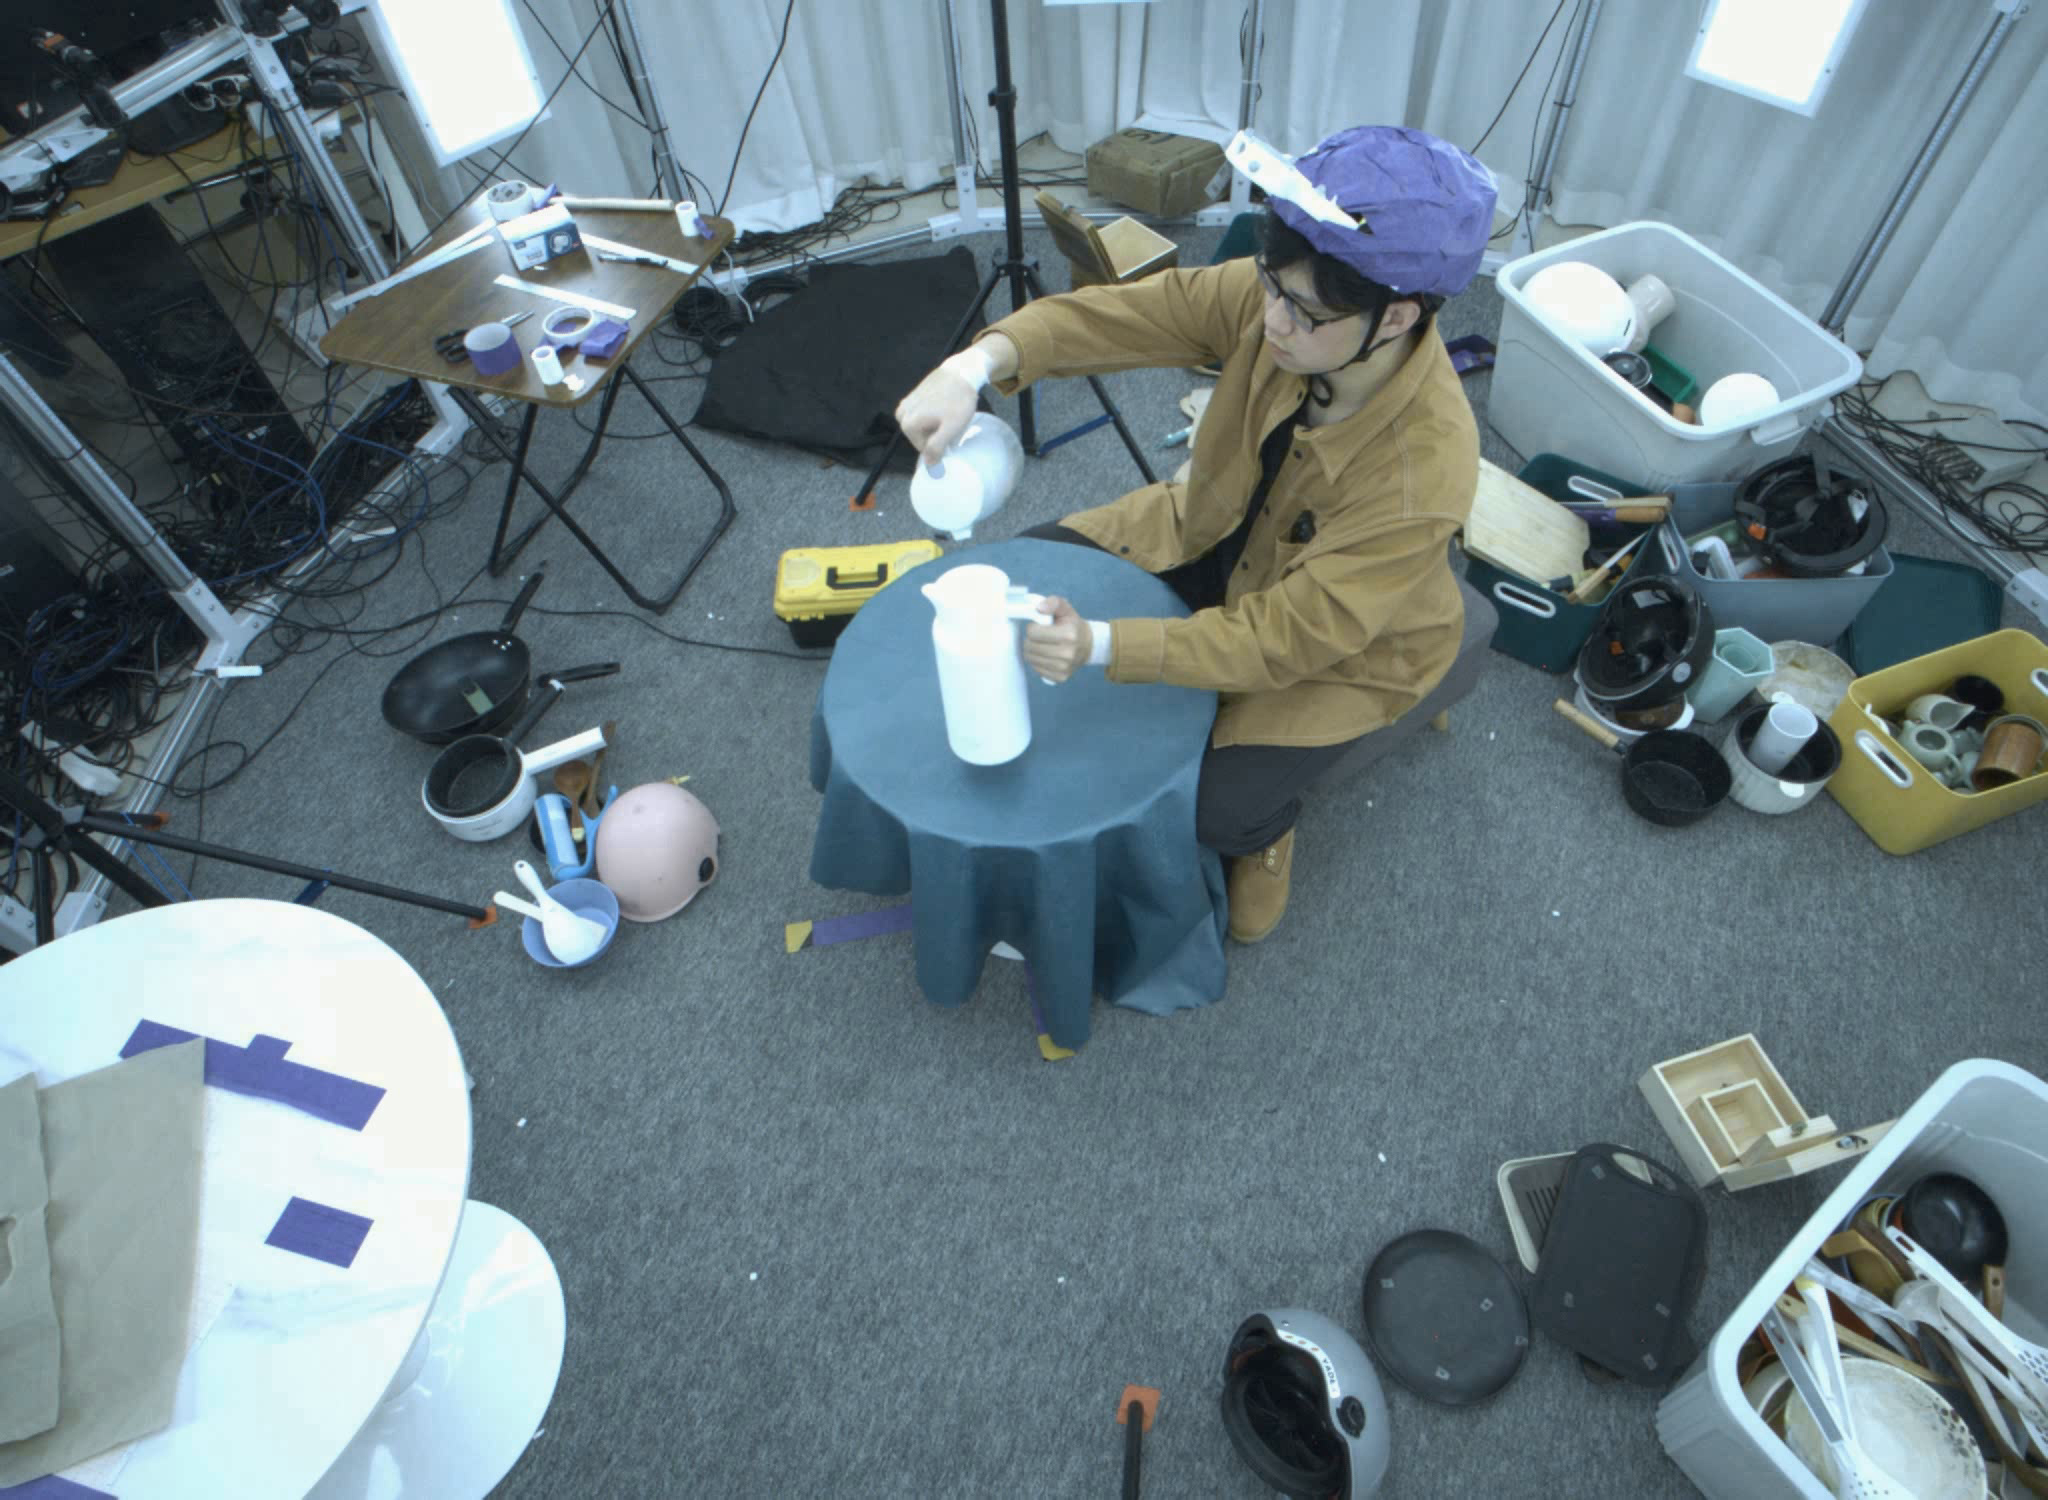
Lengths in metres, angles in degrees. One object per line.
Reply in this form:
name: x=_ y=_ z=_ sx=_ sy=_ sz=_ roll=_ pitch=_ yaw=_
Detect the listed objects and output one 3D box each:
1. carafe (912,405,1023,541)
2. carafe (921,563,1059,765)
carafe: x=-0.088 y=-0.375 z=1.581 sx=0.131 sy=0.169 sz=0.247 roll=-12 pitch=22 yaw=12
carafe: x=-0.040 y=-0.111 z=1.640 sx=0.171 sy=0.272 sz=0.123 roll=5 pitch=42 yaw=11
